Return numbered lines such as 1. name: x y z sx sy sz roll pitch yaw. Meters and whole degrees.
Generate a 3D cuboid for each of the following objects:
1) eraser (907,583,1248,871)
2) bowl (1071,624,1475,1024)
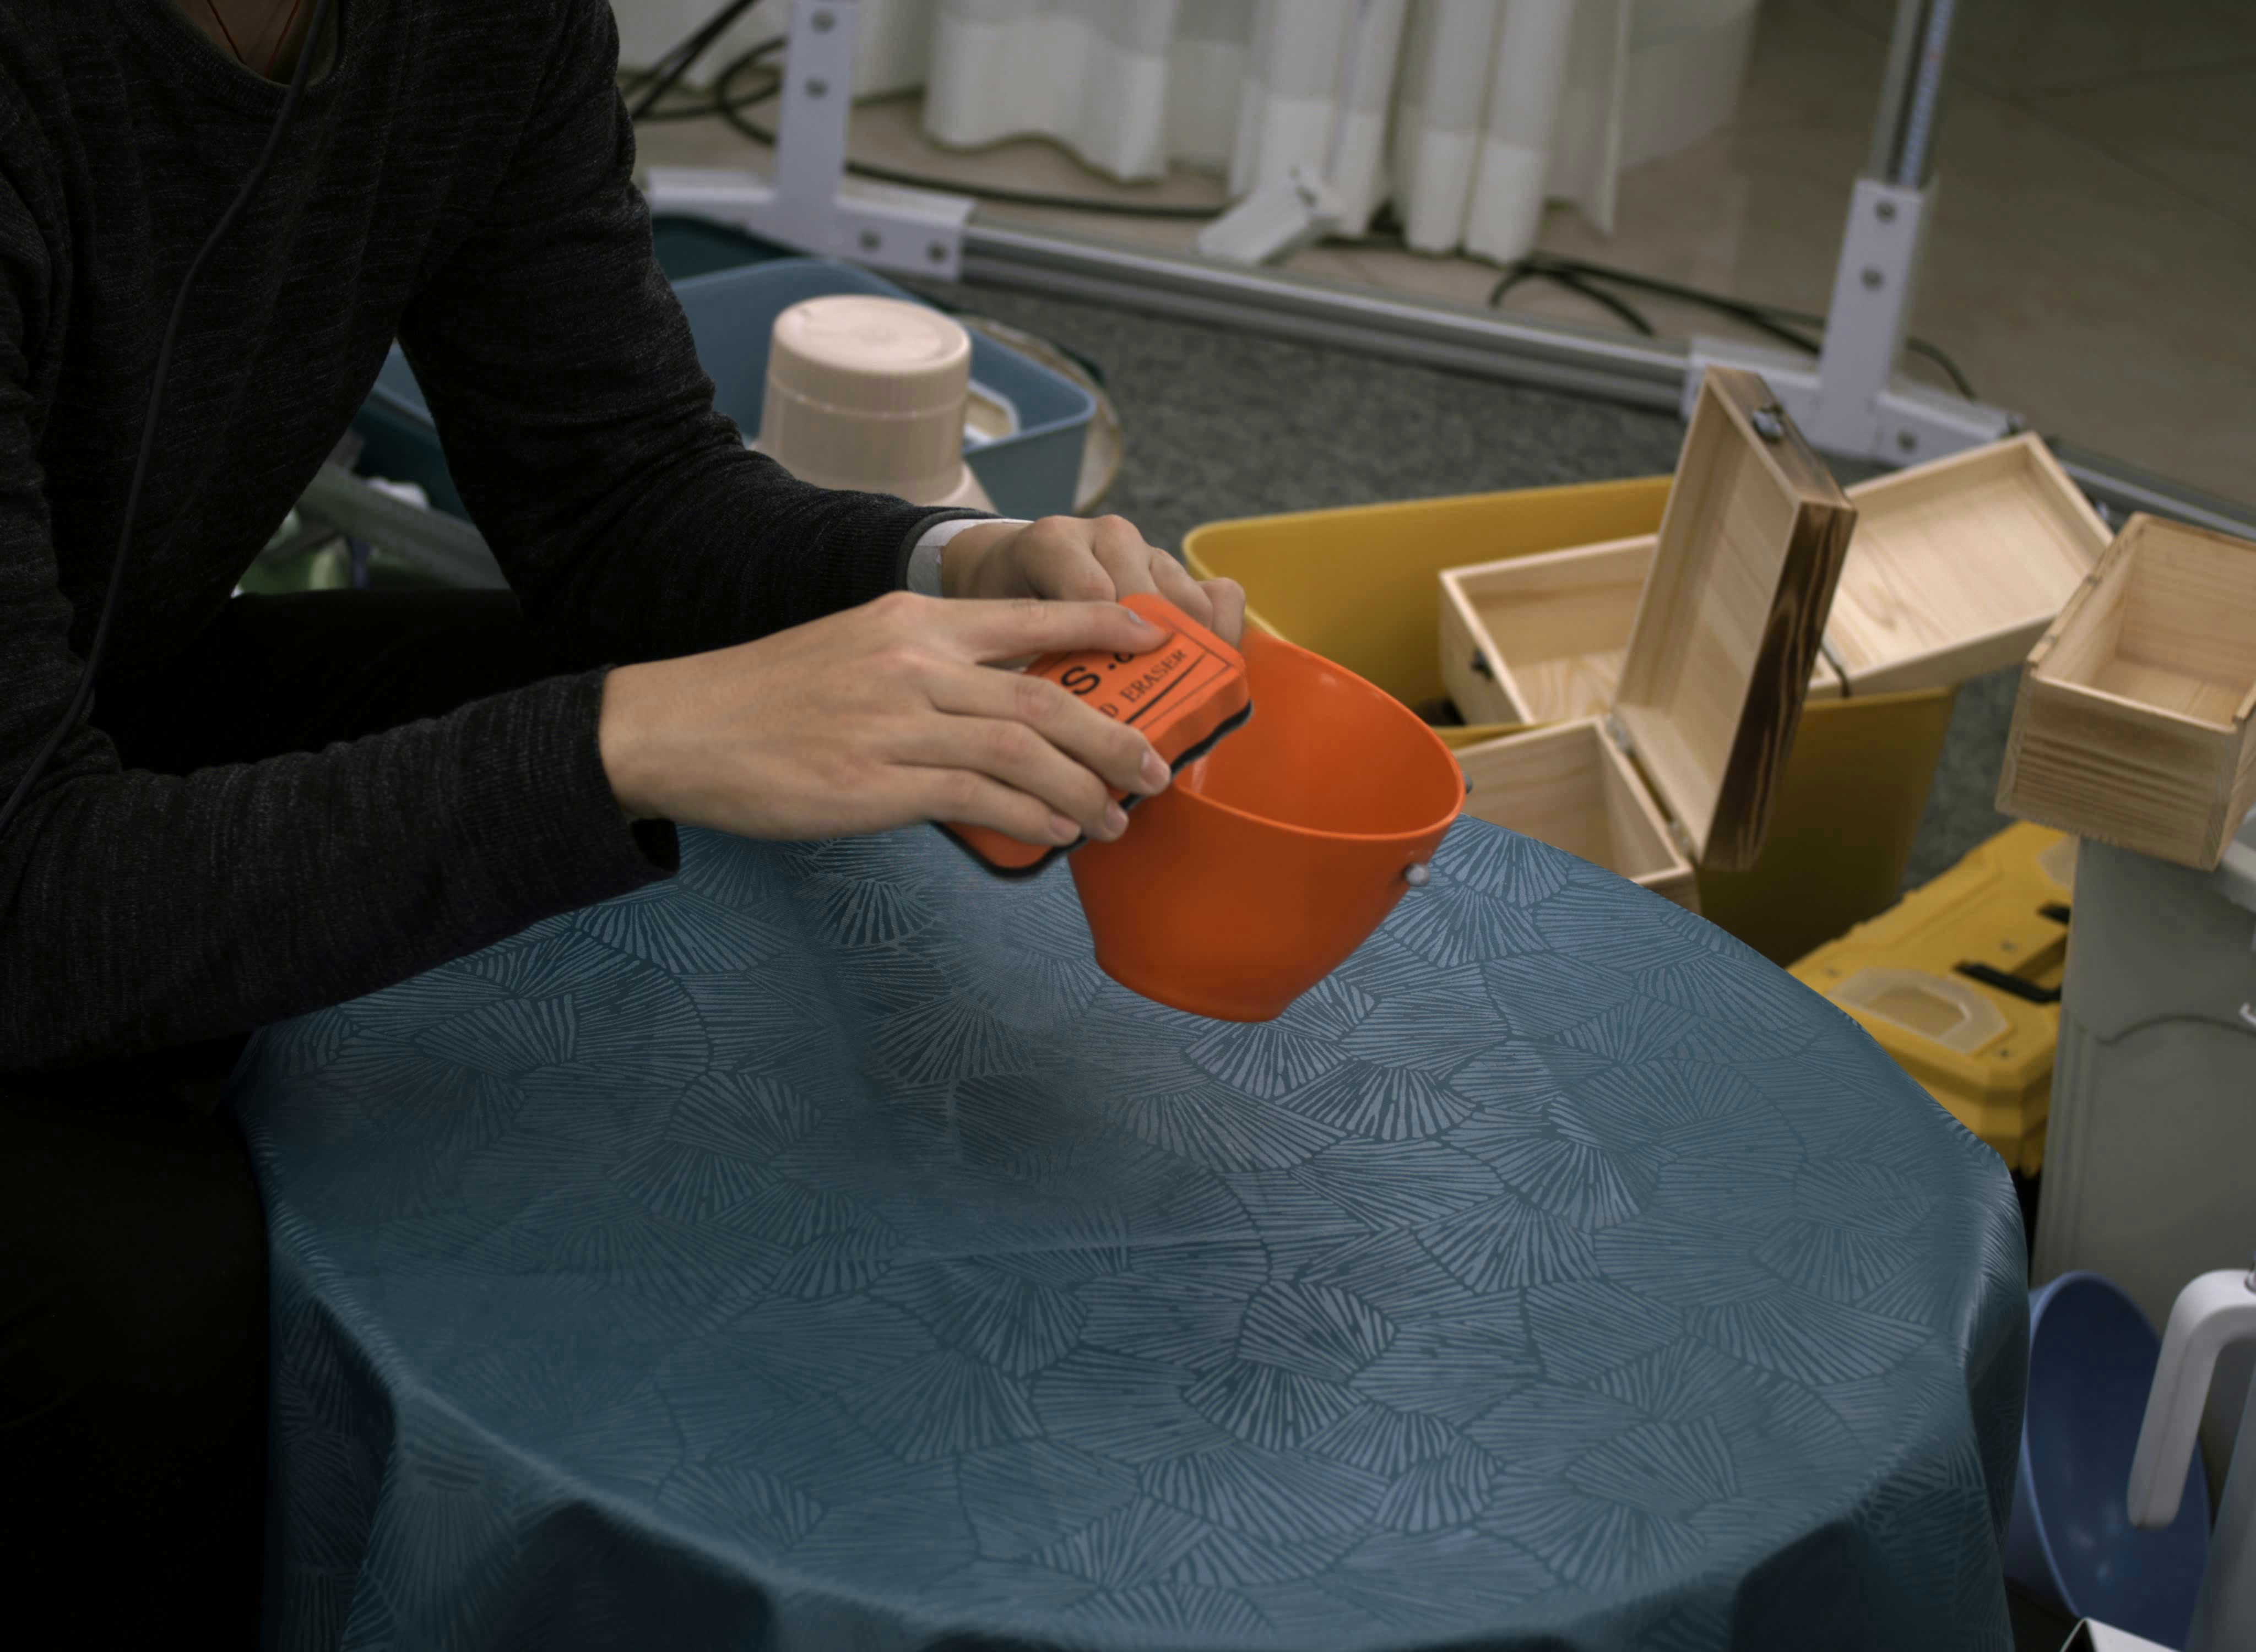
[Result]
1. eraser: -0.016 -0.033 1.715 0.108 0.023 0.059 -37 52 -25
2. bowl: 0.036 0.003 1.792 0.147 0.104 0.148 15 14 -4
